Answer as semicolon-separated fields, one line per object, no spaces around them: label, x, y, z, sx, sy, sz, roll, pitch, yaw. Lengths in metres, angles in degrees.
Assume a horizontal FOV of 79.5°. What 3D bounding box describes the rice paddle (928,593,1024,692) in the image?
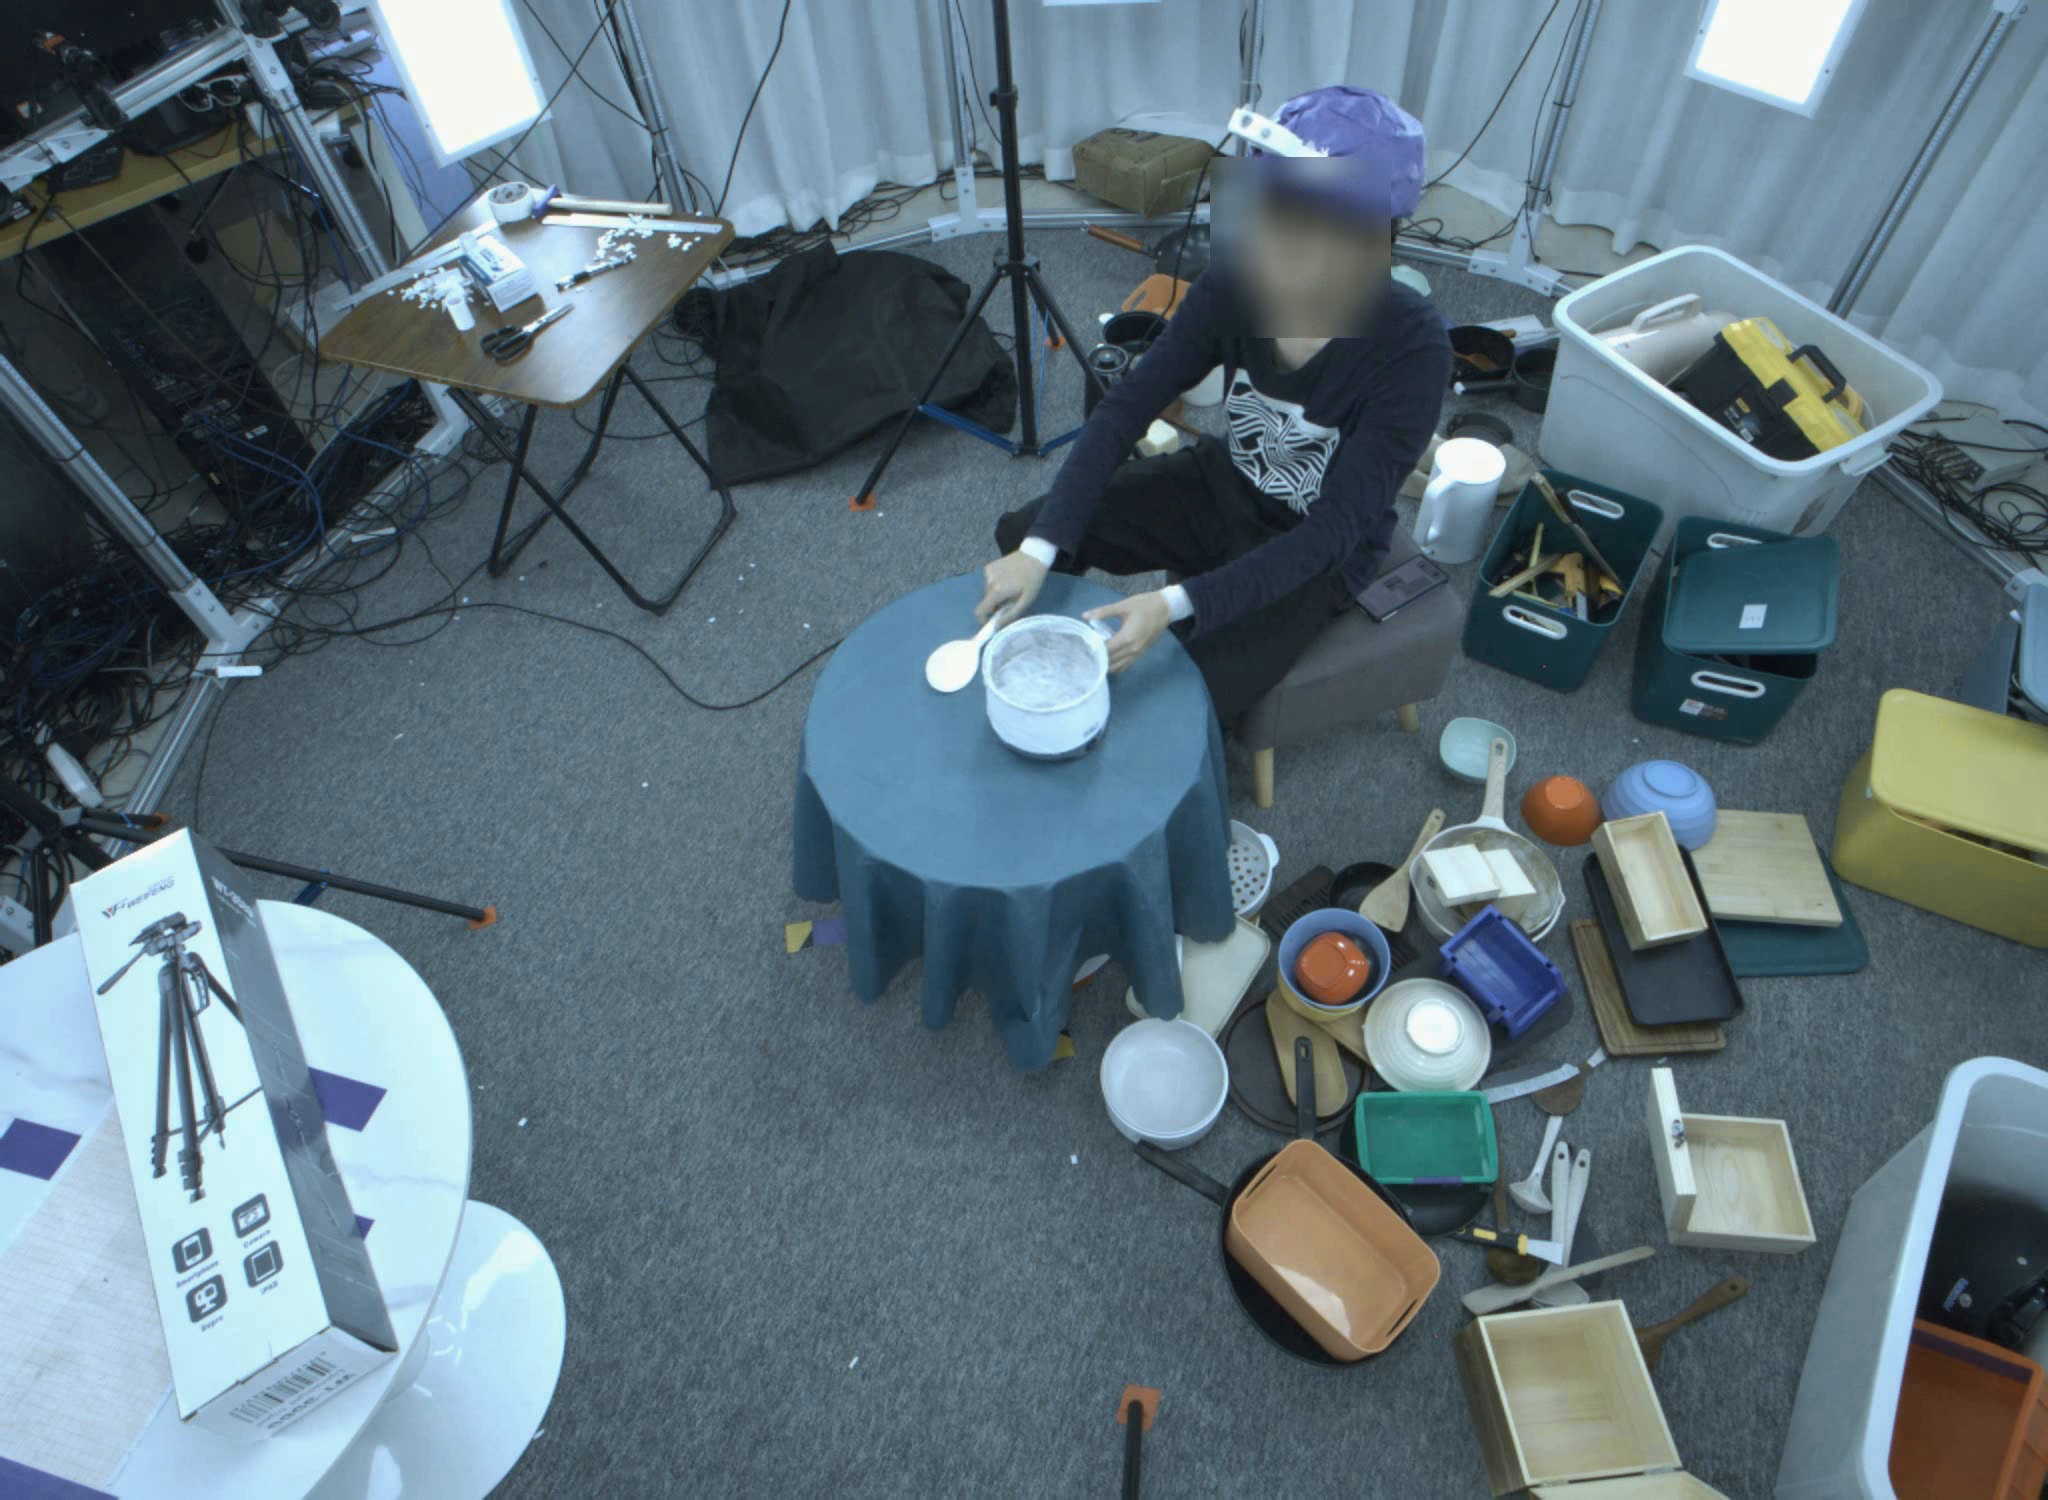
rice paddle;-0.073;-0.166;1.890;0.069;0.029;0.206;44;65;-6

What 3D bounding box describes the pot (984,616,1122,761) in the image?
pot;0.053;-0.100;1.785;0.176;0.138;0.235;39;63;24
